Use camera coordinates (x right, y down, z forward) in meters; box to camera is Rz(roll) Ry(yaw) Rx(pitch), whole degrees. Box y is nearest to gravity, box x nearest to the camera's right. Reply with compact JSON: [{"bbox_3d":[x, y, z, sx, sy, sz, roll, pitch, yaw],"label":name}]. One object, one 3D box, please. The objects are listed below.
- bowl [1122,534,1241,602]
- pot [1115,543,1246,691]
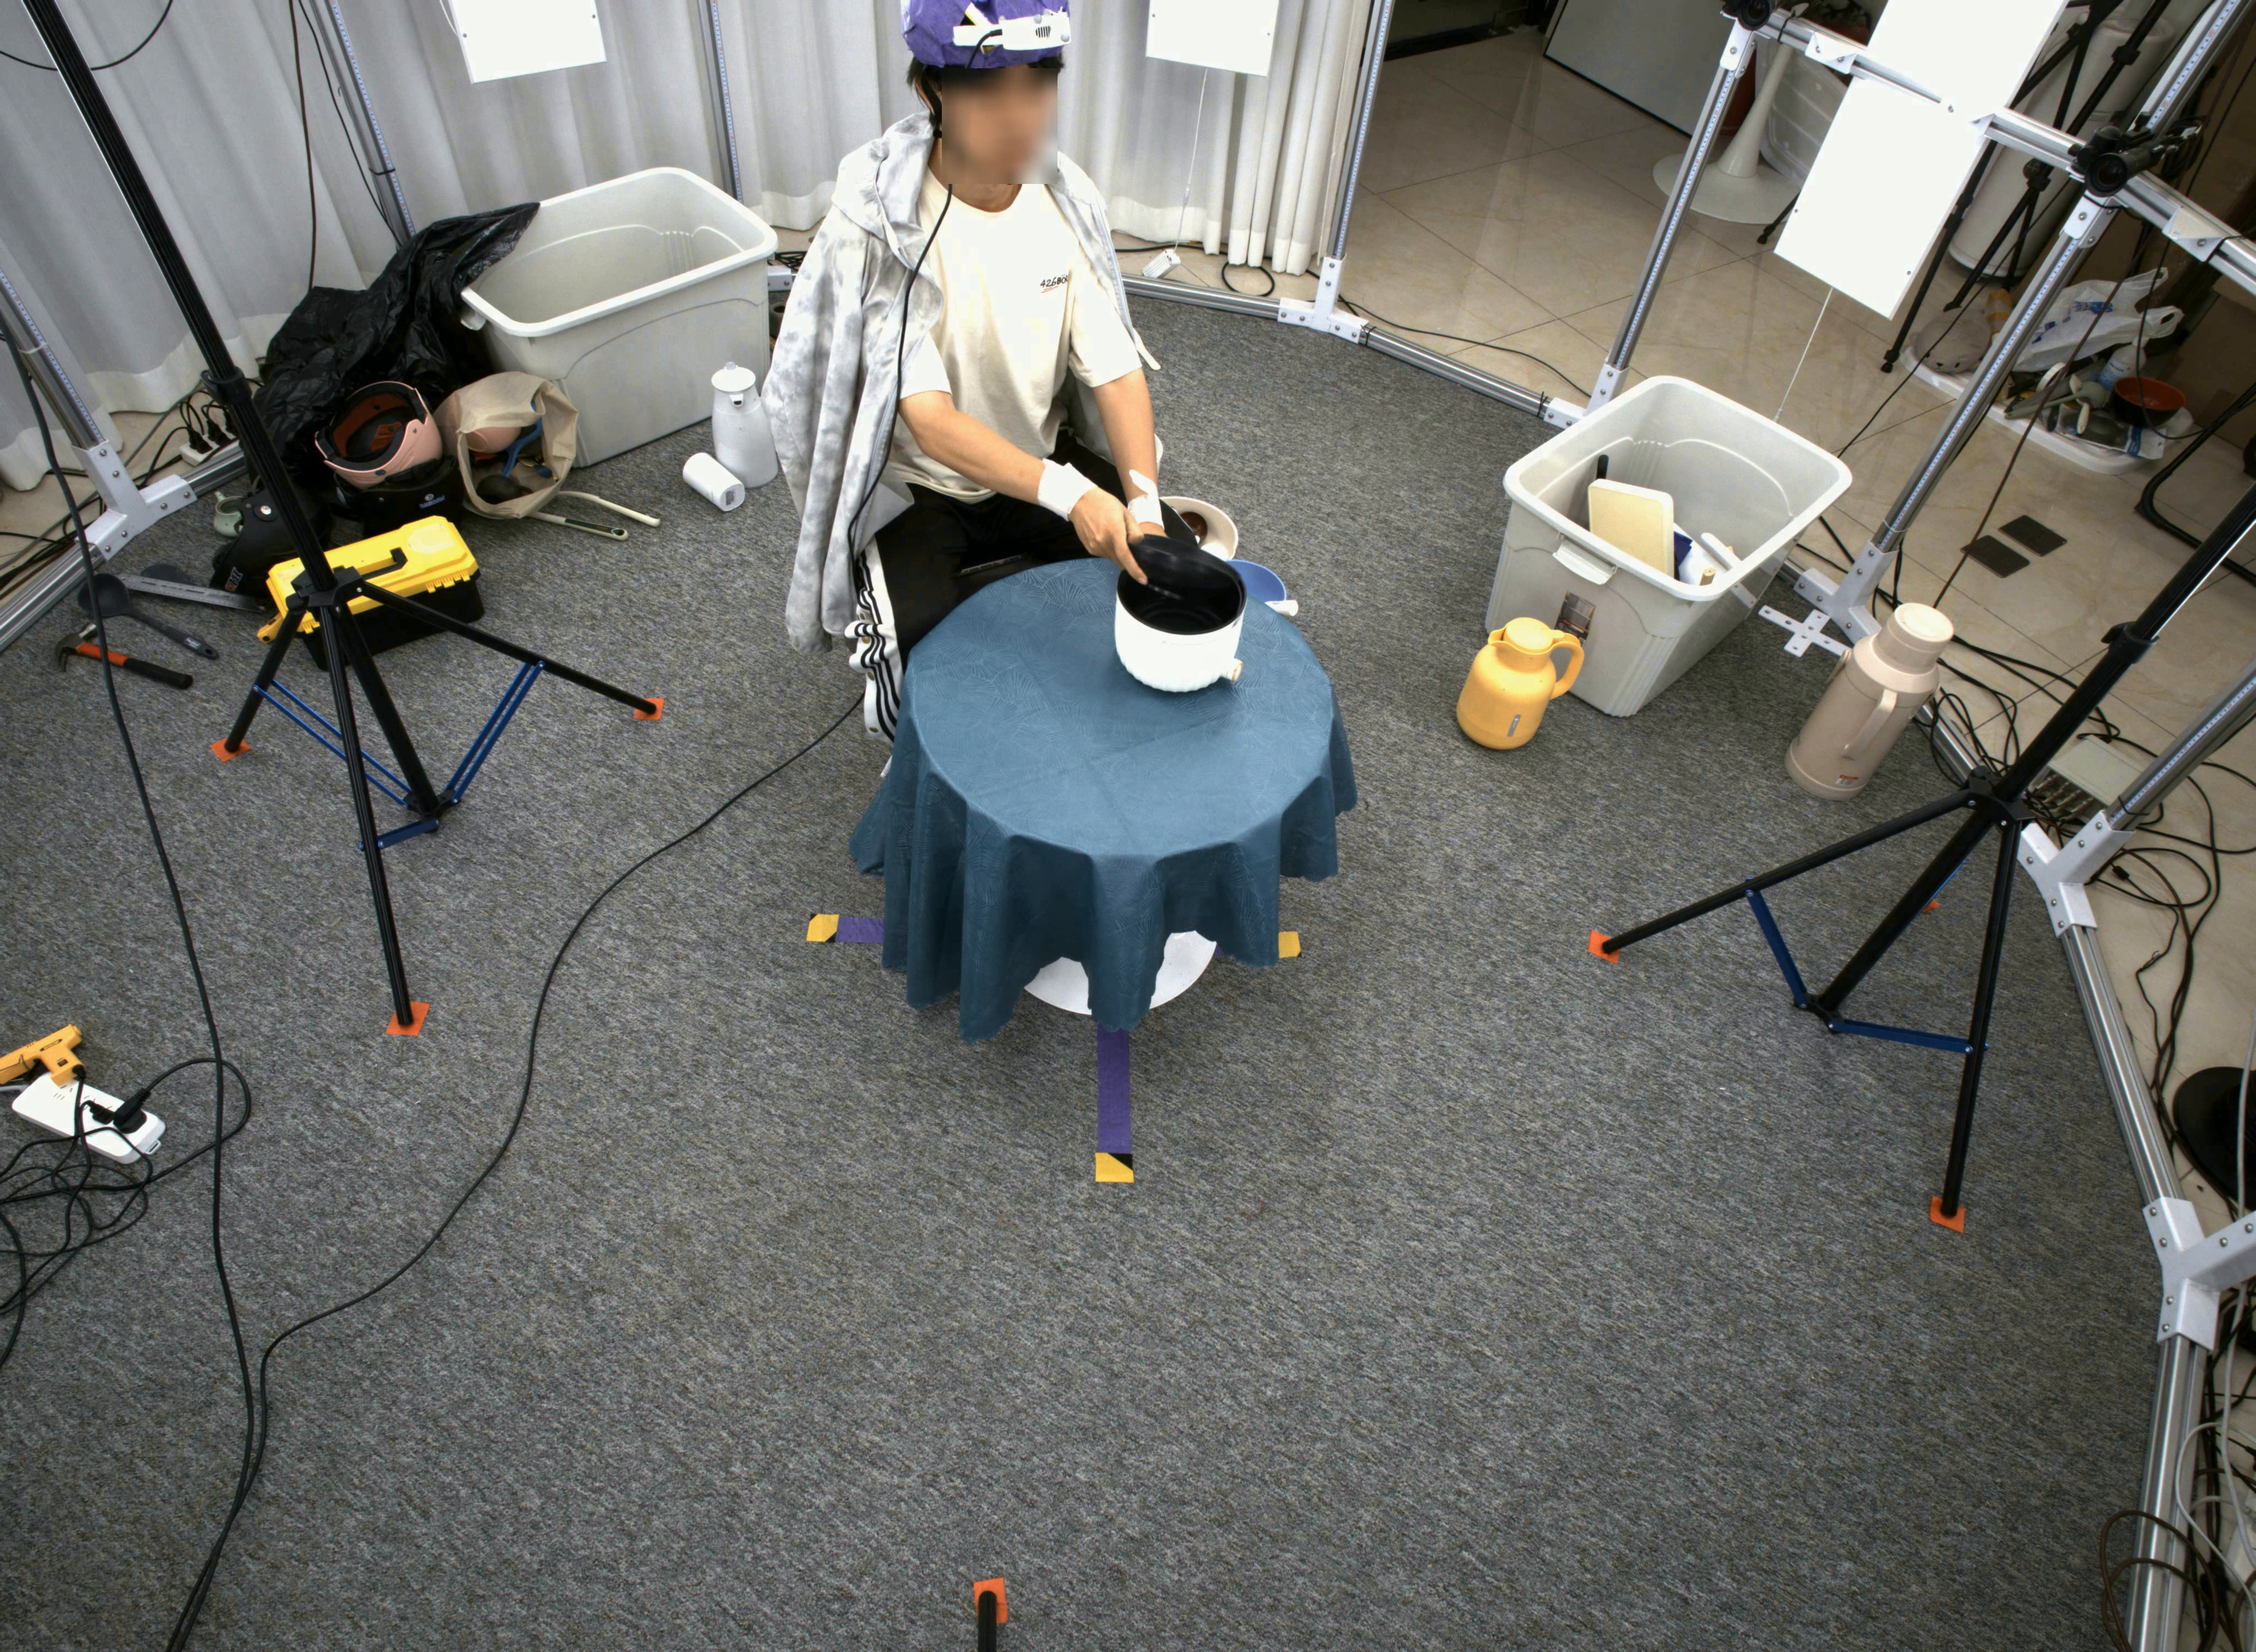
[{"bbox_3d":[0.067,-0.347,1.758,0.169,0.066,0.139,16,17,-13],"label":"bowl"},{"bbox_3d":[0.076,-0.286,1.825,0.192,0.139,0.244,21,51,18],"label":"pot"}]
